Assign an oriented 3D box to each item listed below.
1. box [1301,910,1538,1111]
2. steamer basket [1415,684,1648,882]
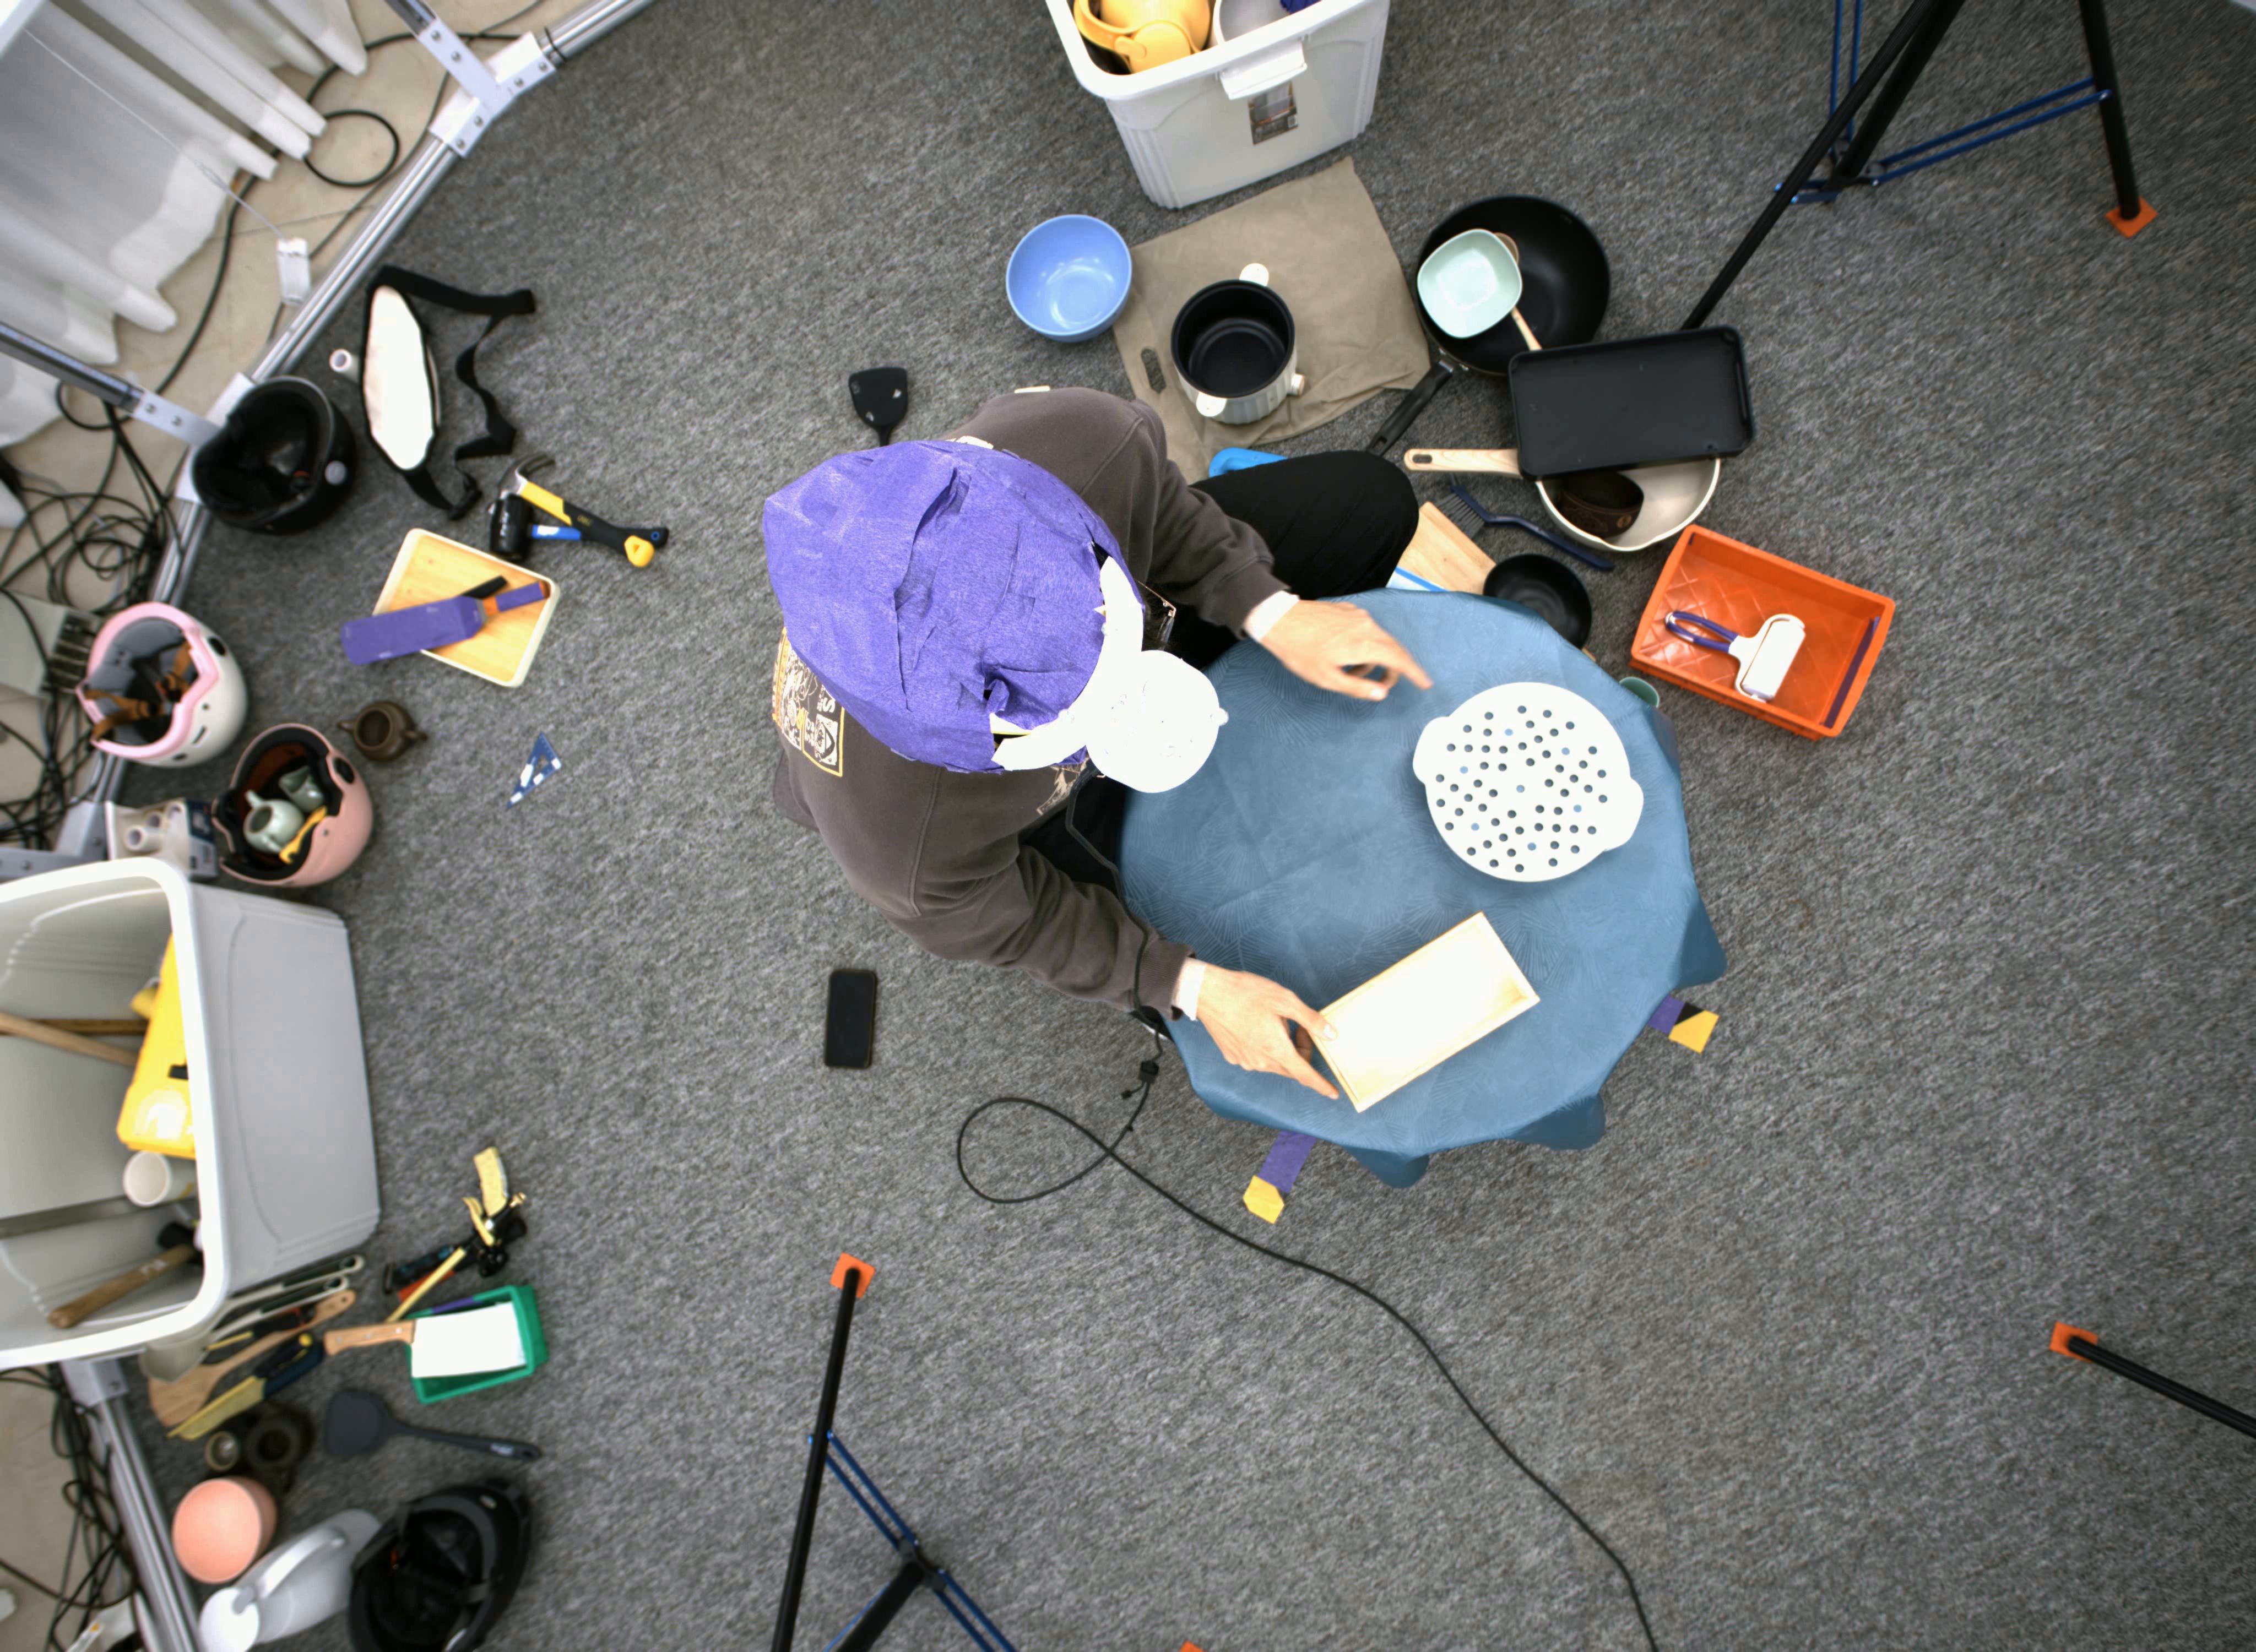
[{"bbox_3d":[0.295,0.186,1.407,0.212,0.080,0.107,-33,81,7],"label":"box"},{"bbox_3d":[0.409,-0.044,1.403,0.230,0.069,0.202,20,90,12],"label":"steamer basket"}]
